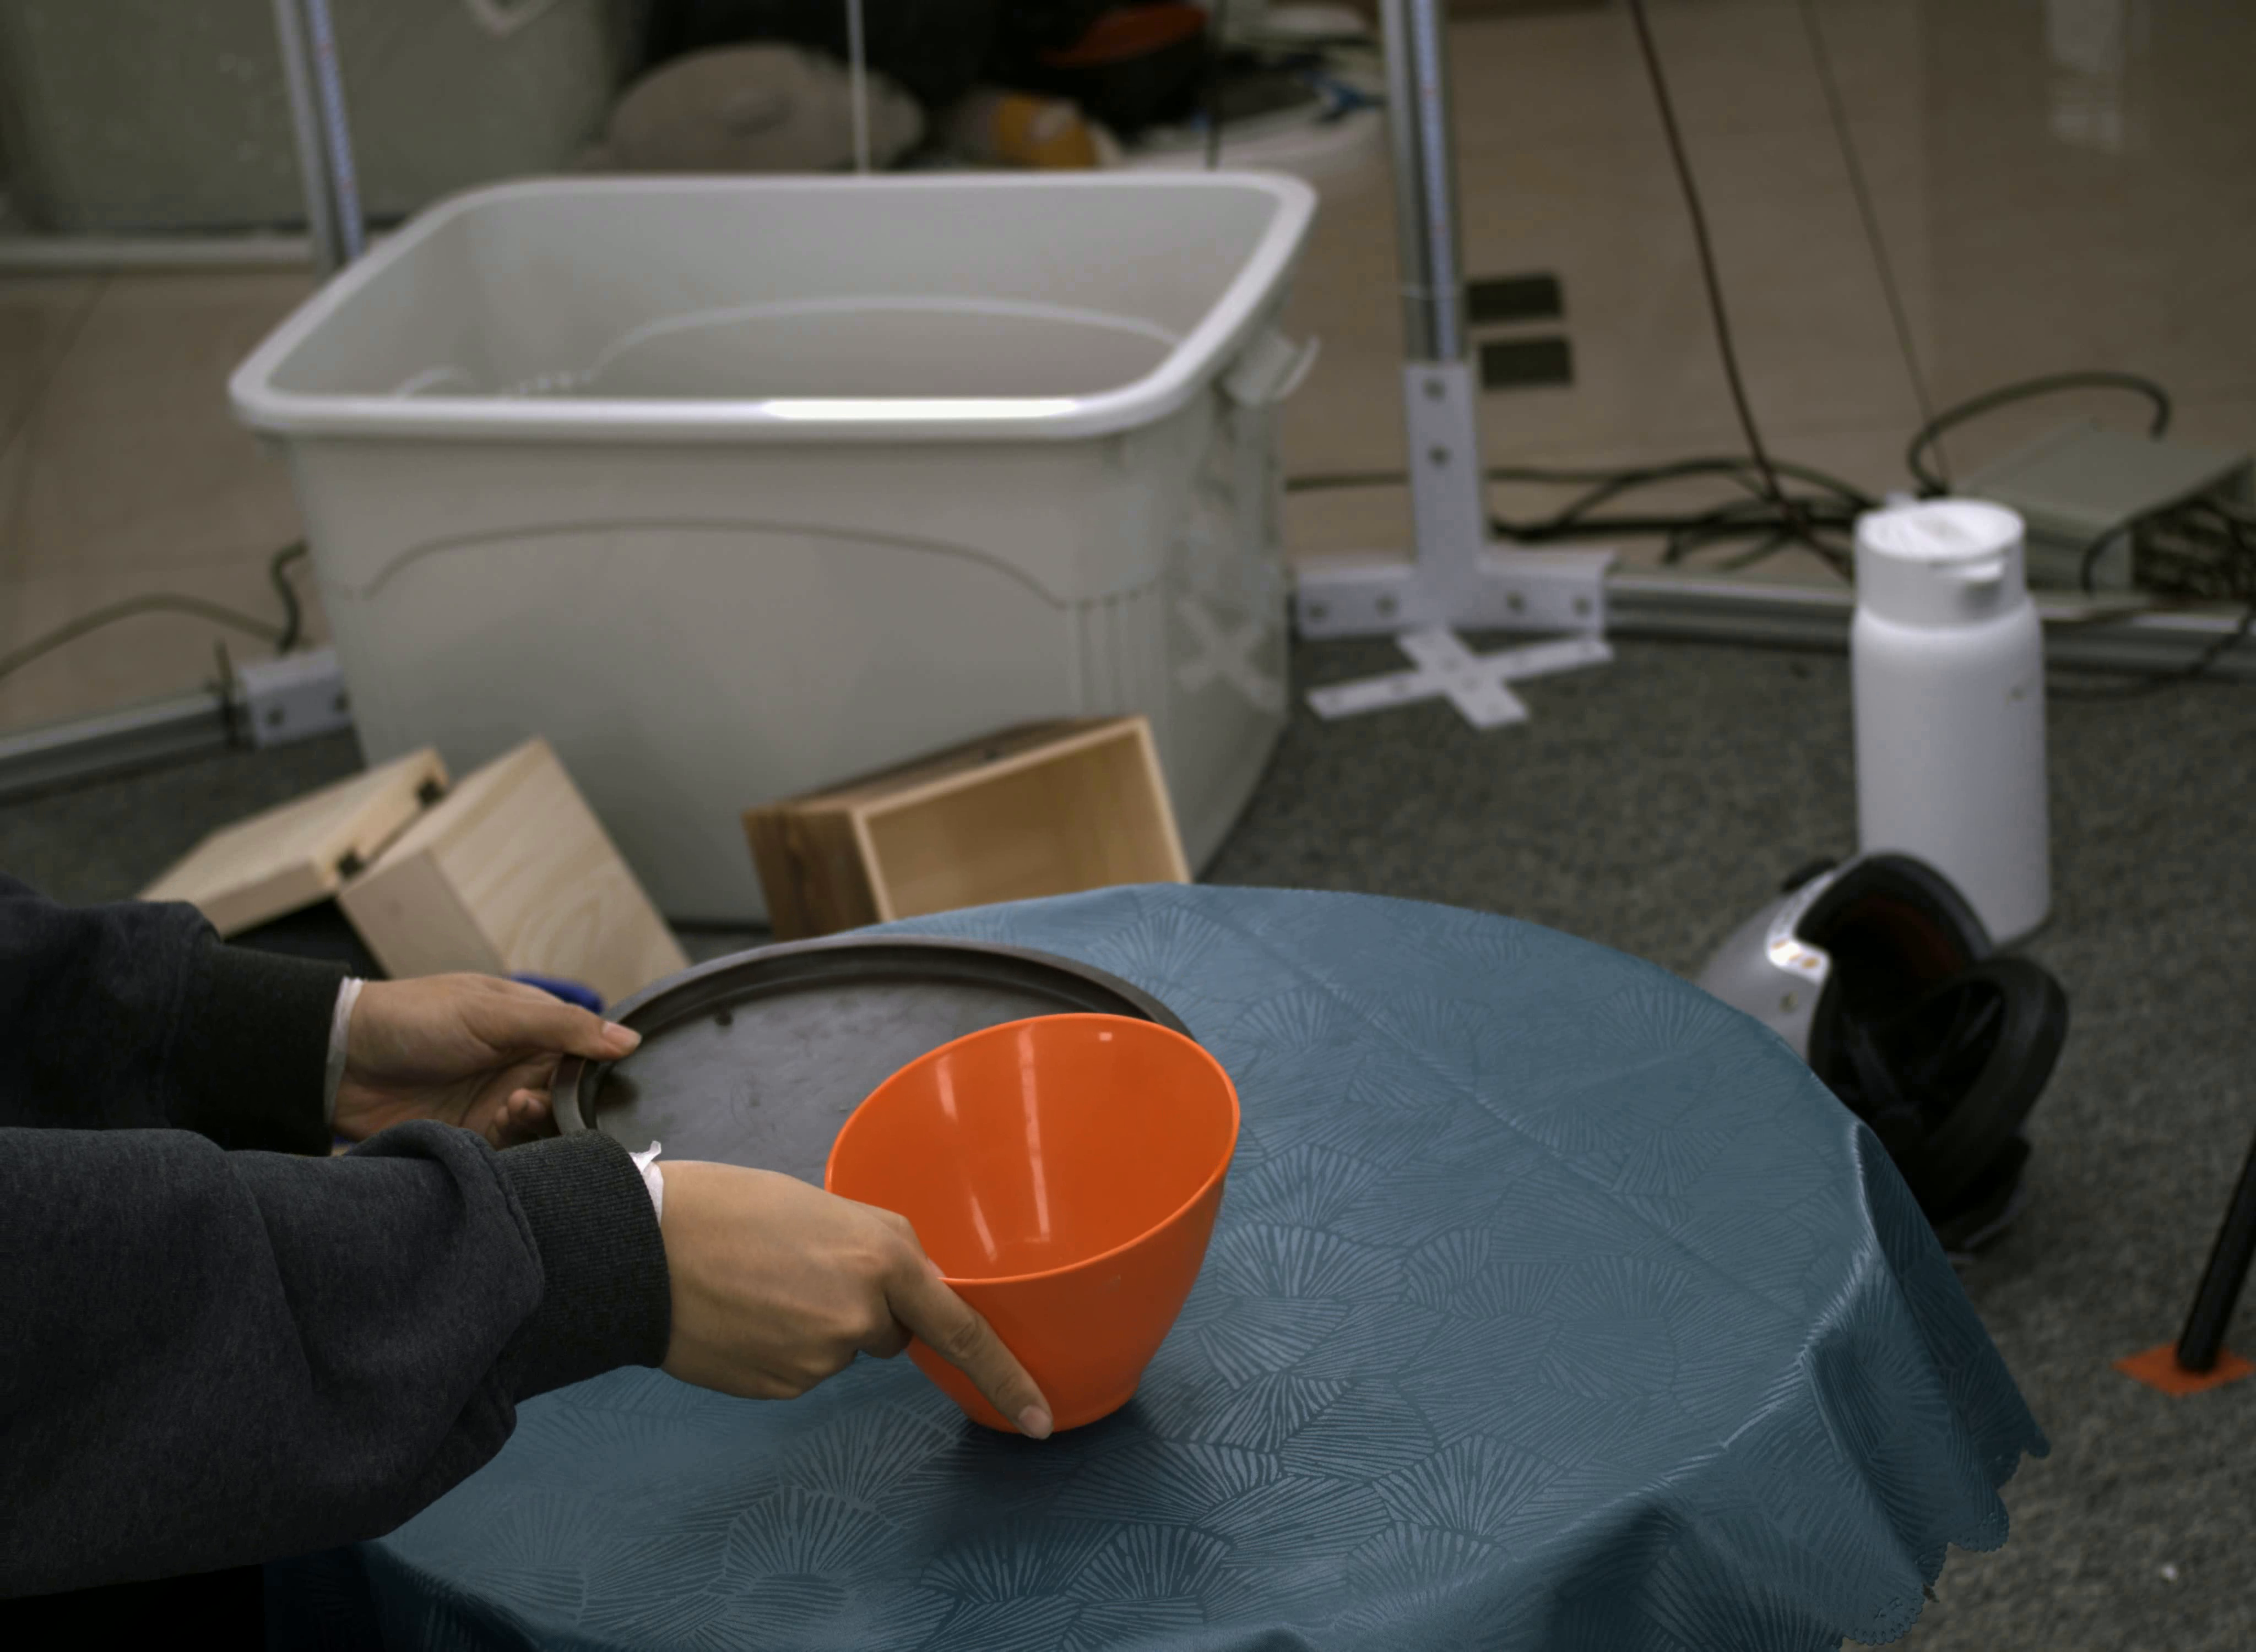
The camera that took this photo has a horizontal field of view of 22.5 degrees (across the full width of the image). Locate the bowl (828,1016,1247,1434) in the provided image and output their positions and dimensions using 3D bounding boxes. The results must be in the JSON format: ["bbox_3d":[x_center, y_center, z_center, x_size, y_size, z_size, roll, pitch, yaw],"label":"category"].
[{"bbox_3d":[-0.029,0.147,1.994,0.148,0.106,0.146,-4,27,2],"label":"bowl"}]

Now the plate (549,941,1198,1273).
[{"bbox_3d":[-0.096,0.106,2.181,0.254,0.029,0.251,0,27,0],"label":"plate"}]
